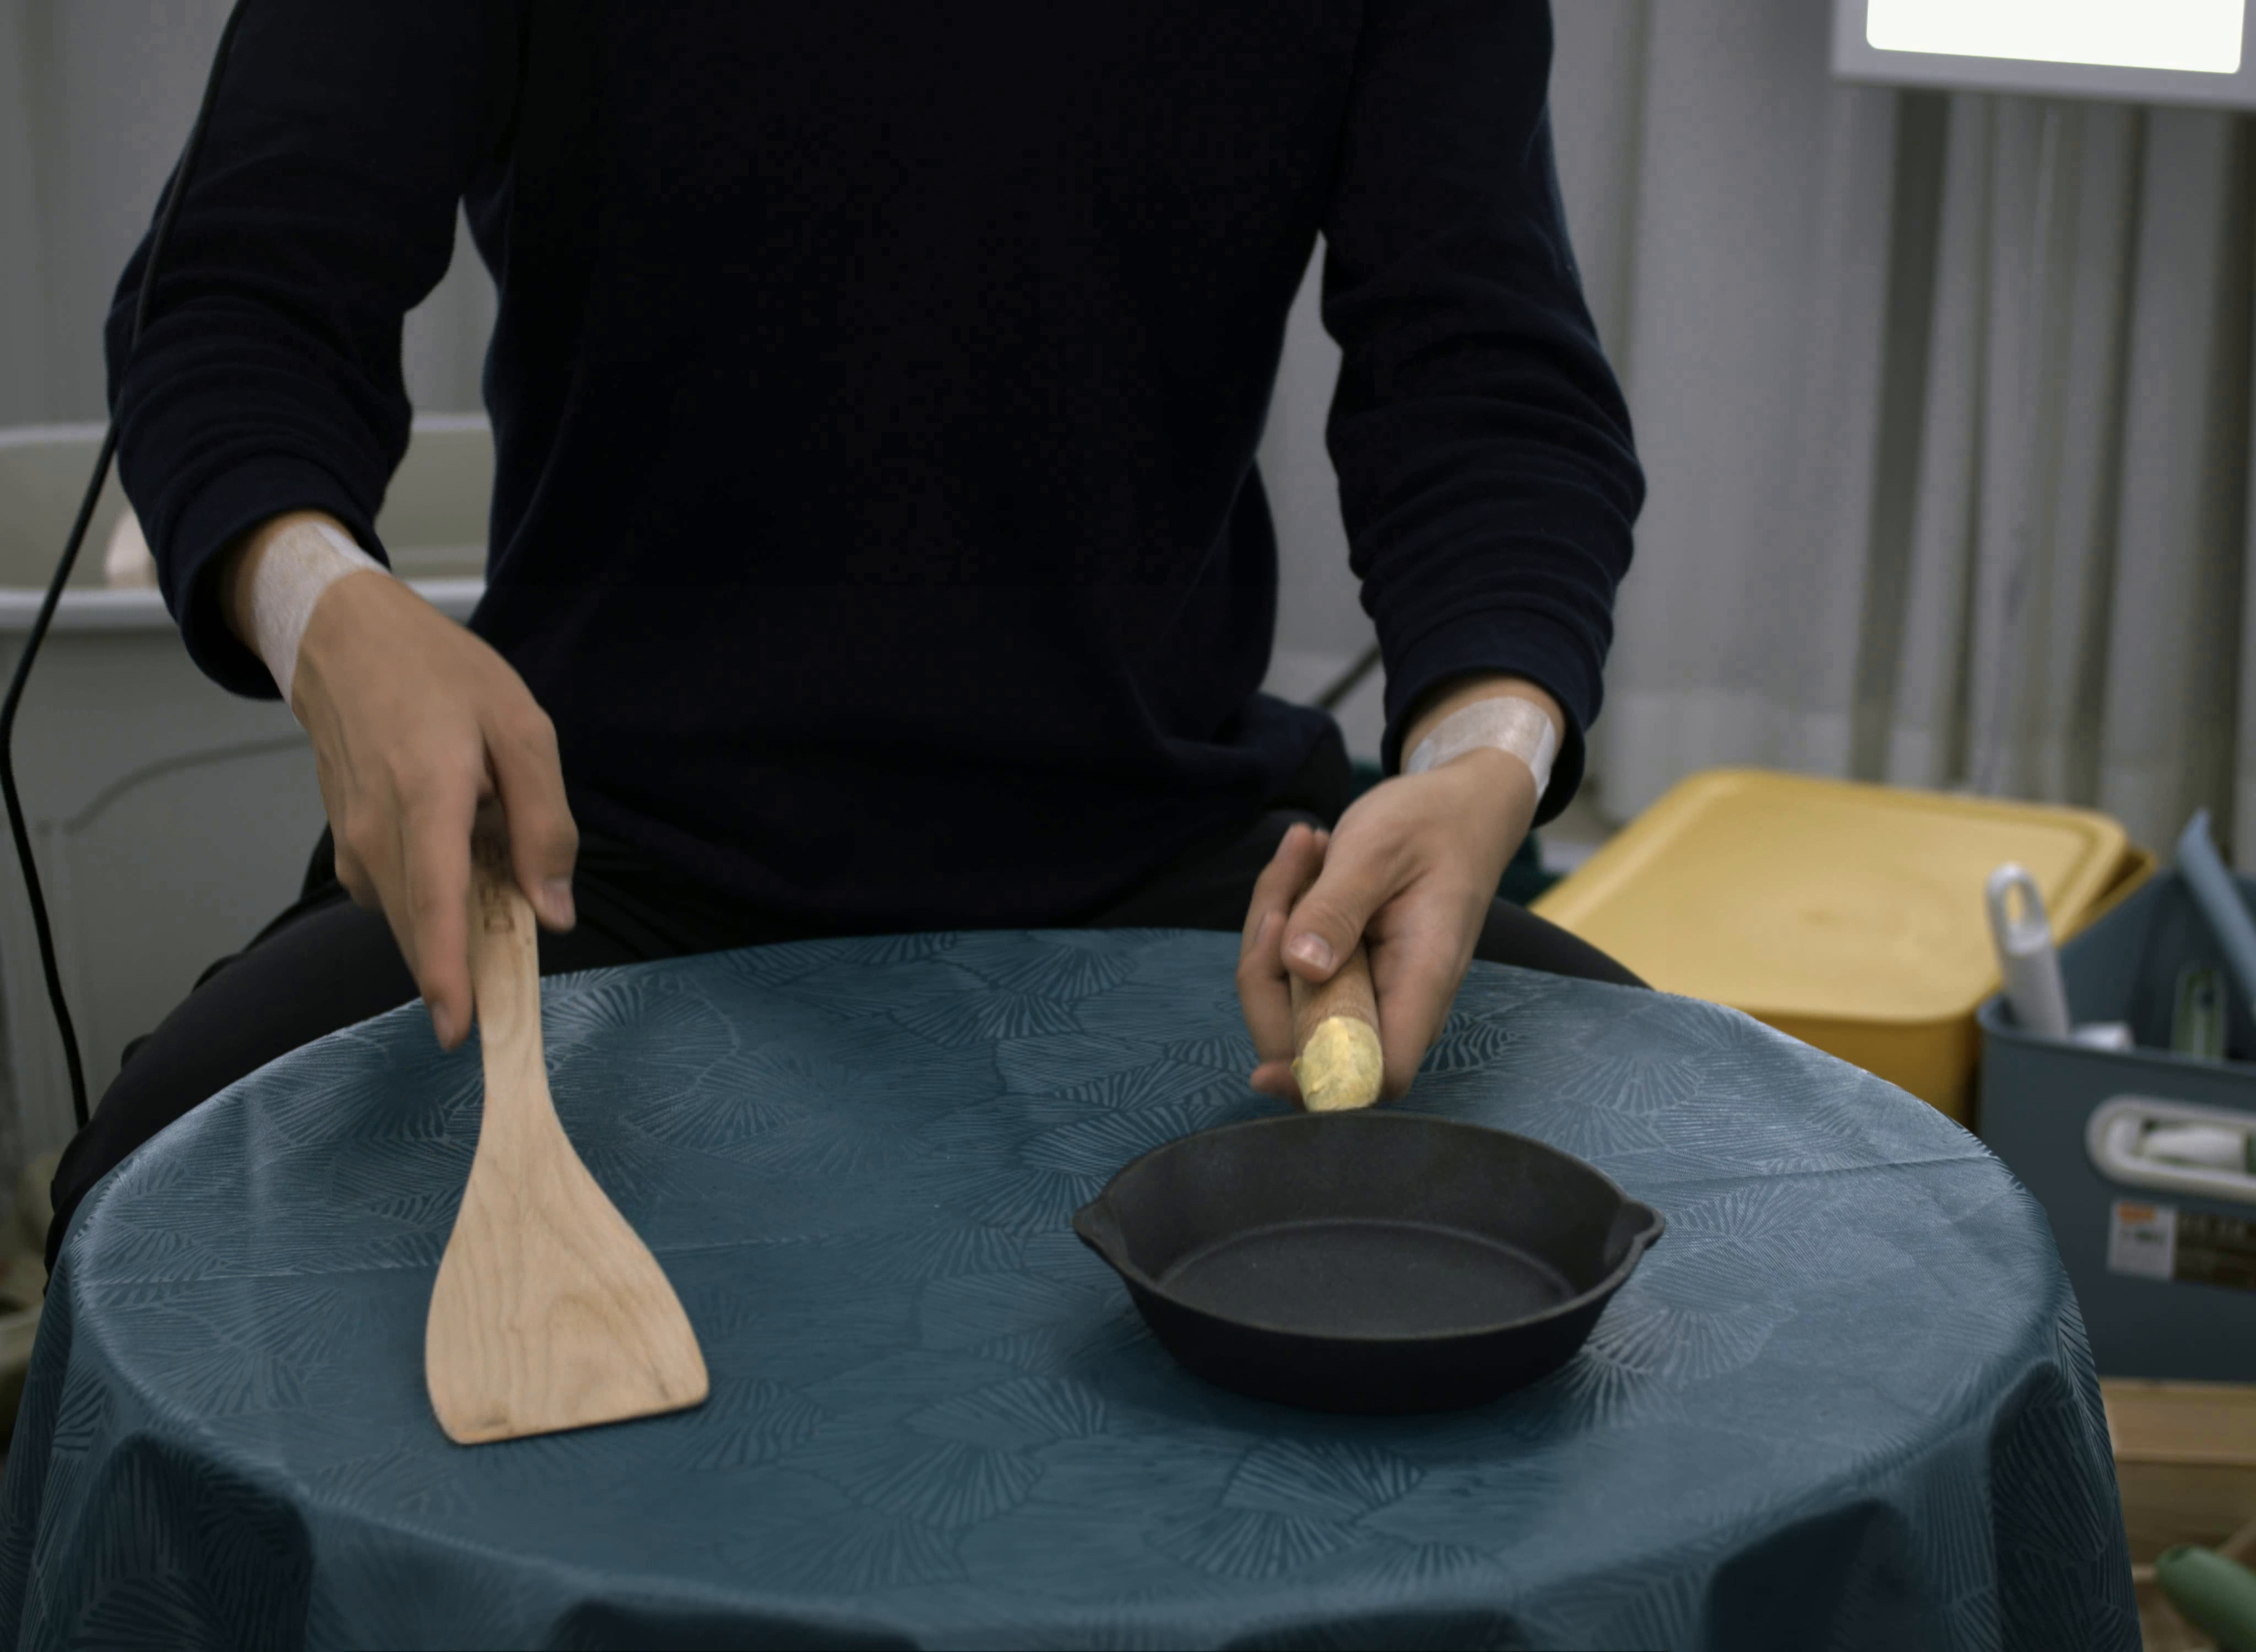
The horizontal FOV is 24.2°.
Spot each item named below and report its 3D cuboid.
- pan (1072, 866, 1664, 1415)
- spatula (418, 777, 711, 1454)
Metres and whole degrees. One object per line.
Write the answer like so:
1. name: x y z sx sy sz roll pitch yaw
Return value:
1. pan: 0.068 0.090 1.577 0.168 0.050 0.322 1 21 0
2. spatula: -0.179 0.077 1.551 0.080 0.017 0.324 -5 37 -9
